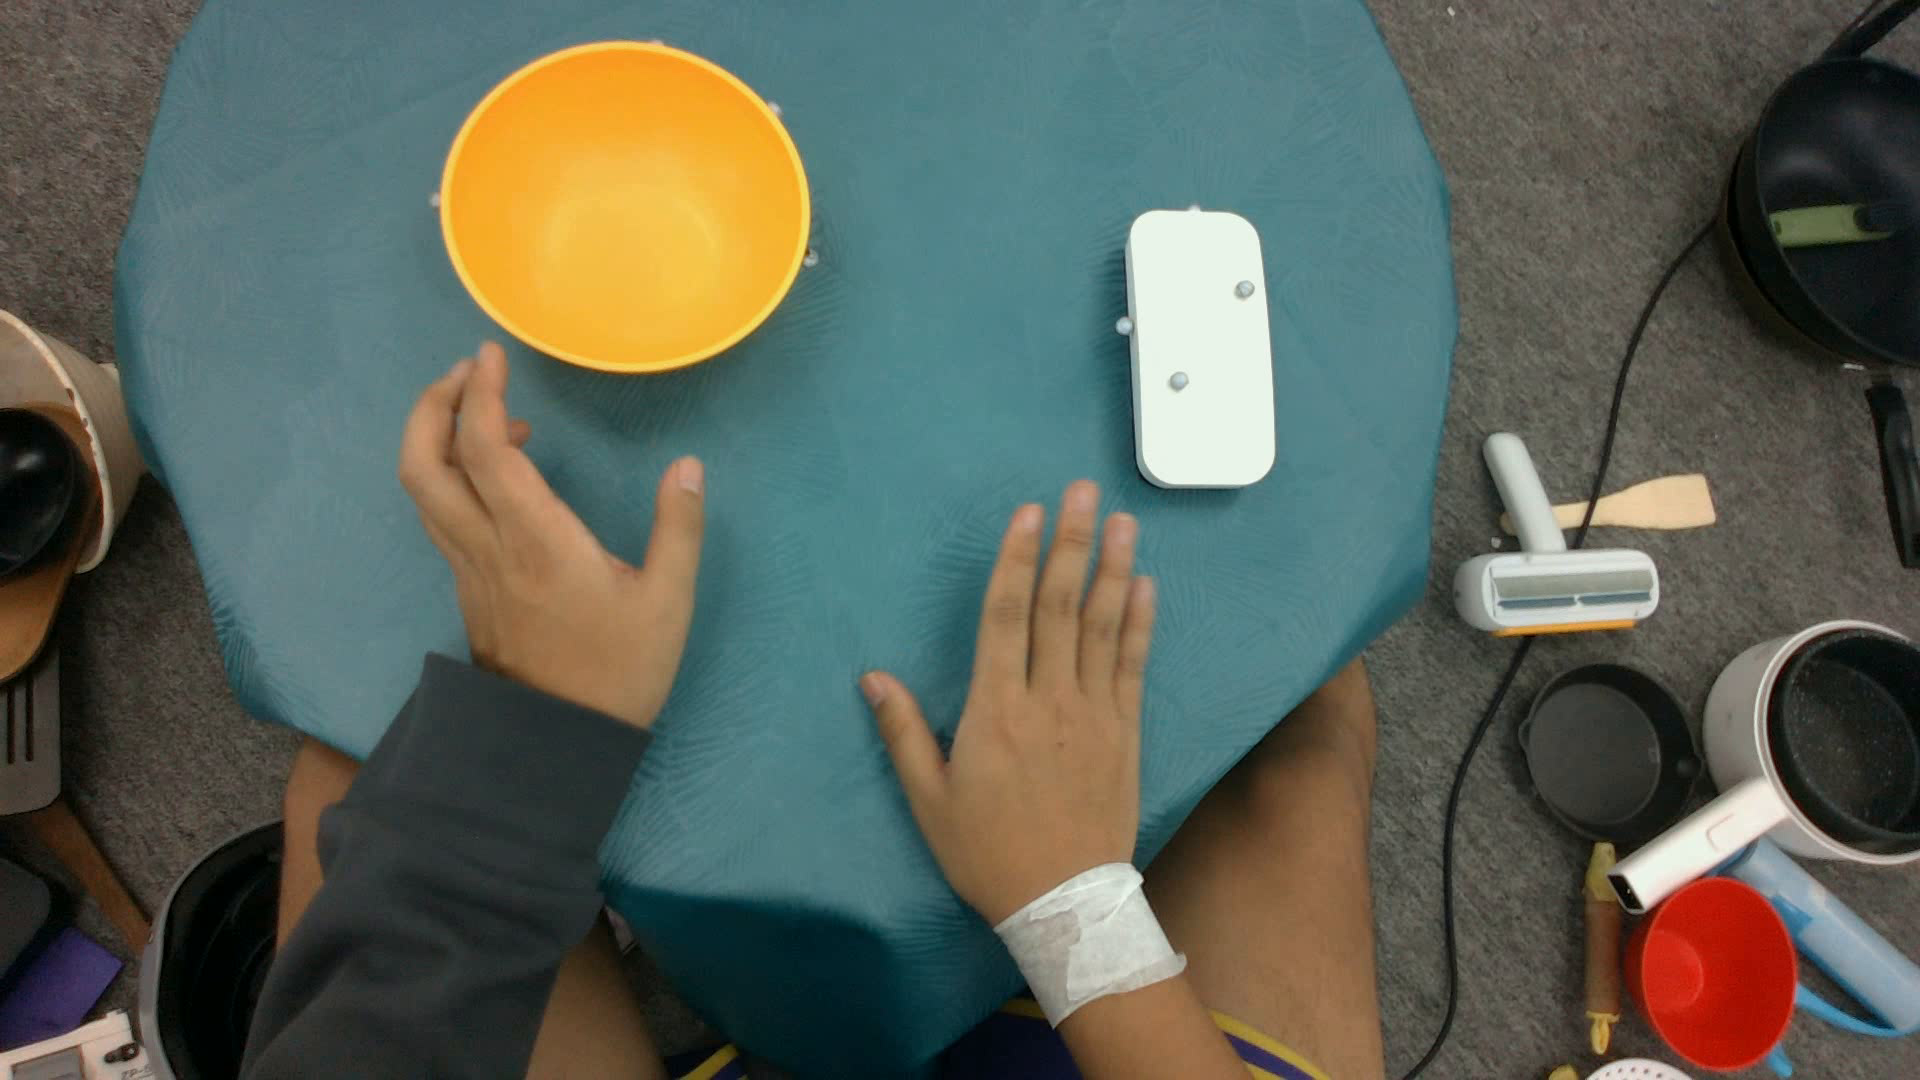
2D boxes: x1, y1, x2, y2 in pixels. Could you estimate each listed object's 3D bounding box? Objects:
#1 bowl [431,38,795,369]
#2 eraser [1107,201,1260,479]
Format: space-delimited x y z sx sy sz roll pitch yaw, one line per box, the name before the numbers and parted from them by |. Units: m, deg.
bowl | -0.144 -0.134 0.588 0.145 0.060 0.145 2 79 -8
eraser | 0.099 -0.092 0.629 0.063 0.034 0.131 0 76 -9
